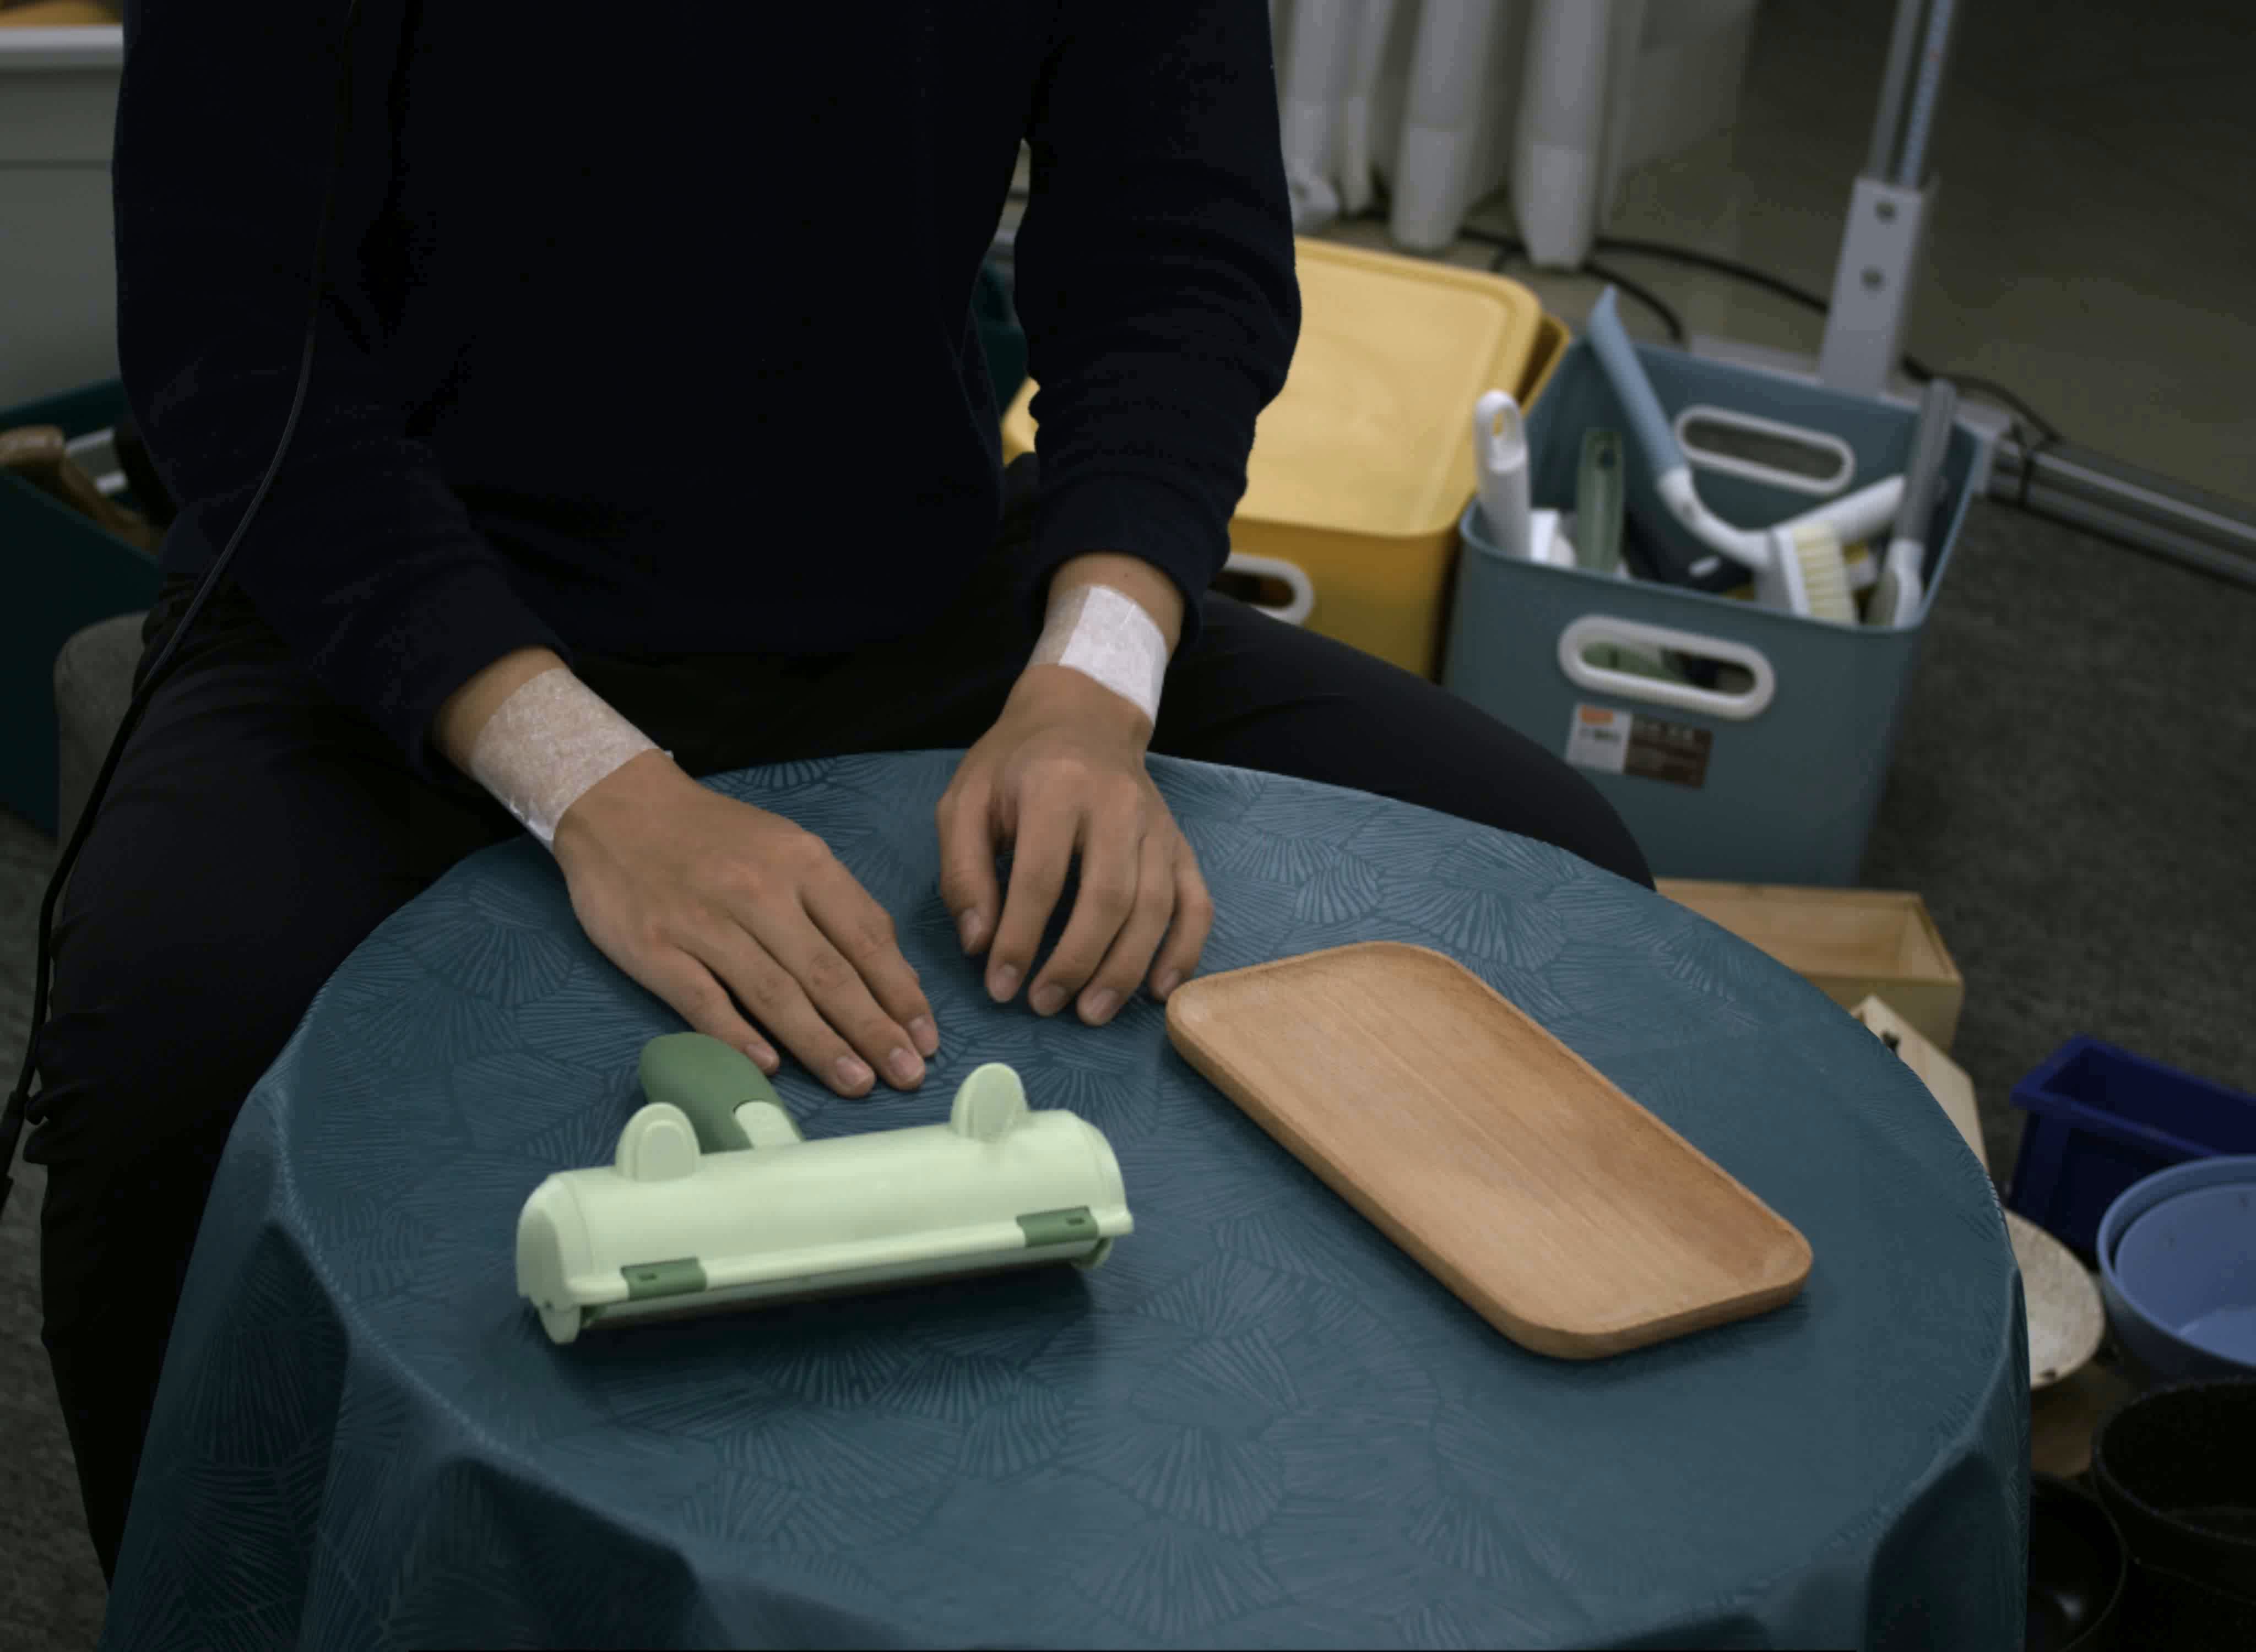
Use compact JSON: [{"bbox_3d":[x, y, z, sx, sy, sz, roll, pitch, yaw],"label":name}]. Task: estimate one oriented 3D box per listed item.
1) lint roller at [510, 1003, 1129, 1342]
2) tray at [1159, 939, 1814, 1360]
[{"bbox_3d":[-0.120,0.090,1.746,0.197,0.082,0.185,-6,36,-25],"label":"lint roller"},{"bbox_3d":[0.120,0.109,1.840,0.129,0.023,0.253,-9,30,-32],"label":"tray"}]
